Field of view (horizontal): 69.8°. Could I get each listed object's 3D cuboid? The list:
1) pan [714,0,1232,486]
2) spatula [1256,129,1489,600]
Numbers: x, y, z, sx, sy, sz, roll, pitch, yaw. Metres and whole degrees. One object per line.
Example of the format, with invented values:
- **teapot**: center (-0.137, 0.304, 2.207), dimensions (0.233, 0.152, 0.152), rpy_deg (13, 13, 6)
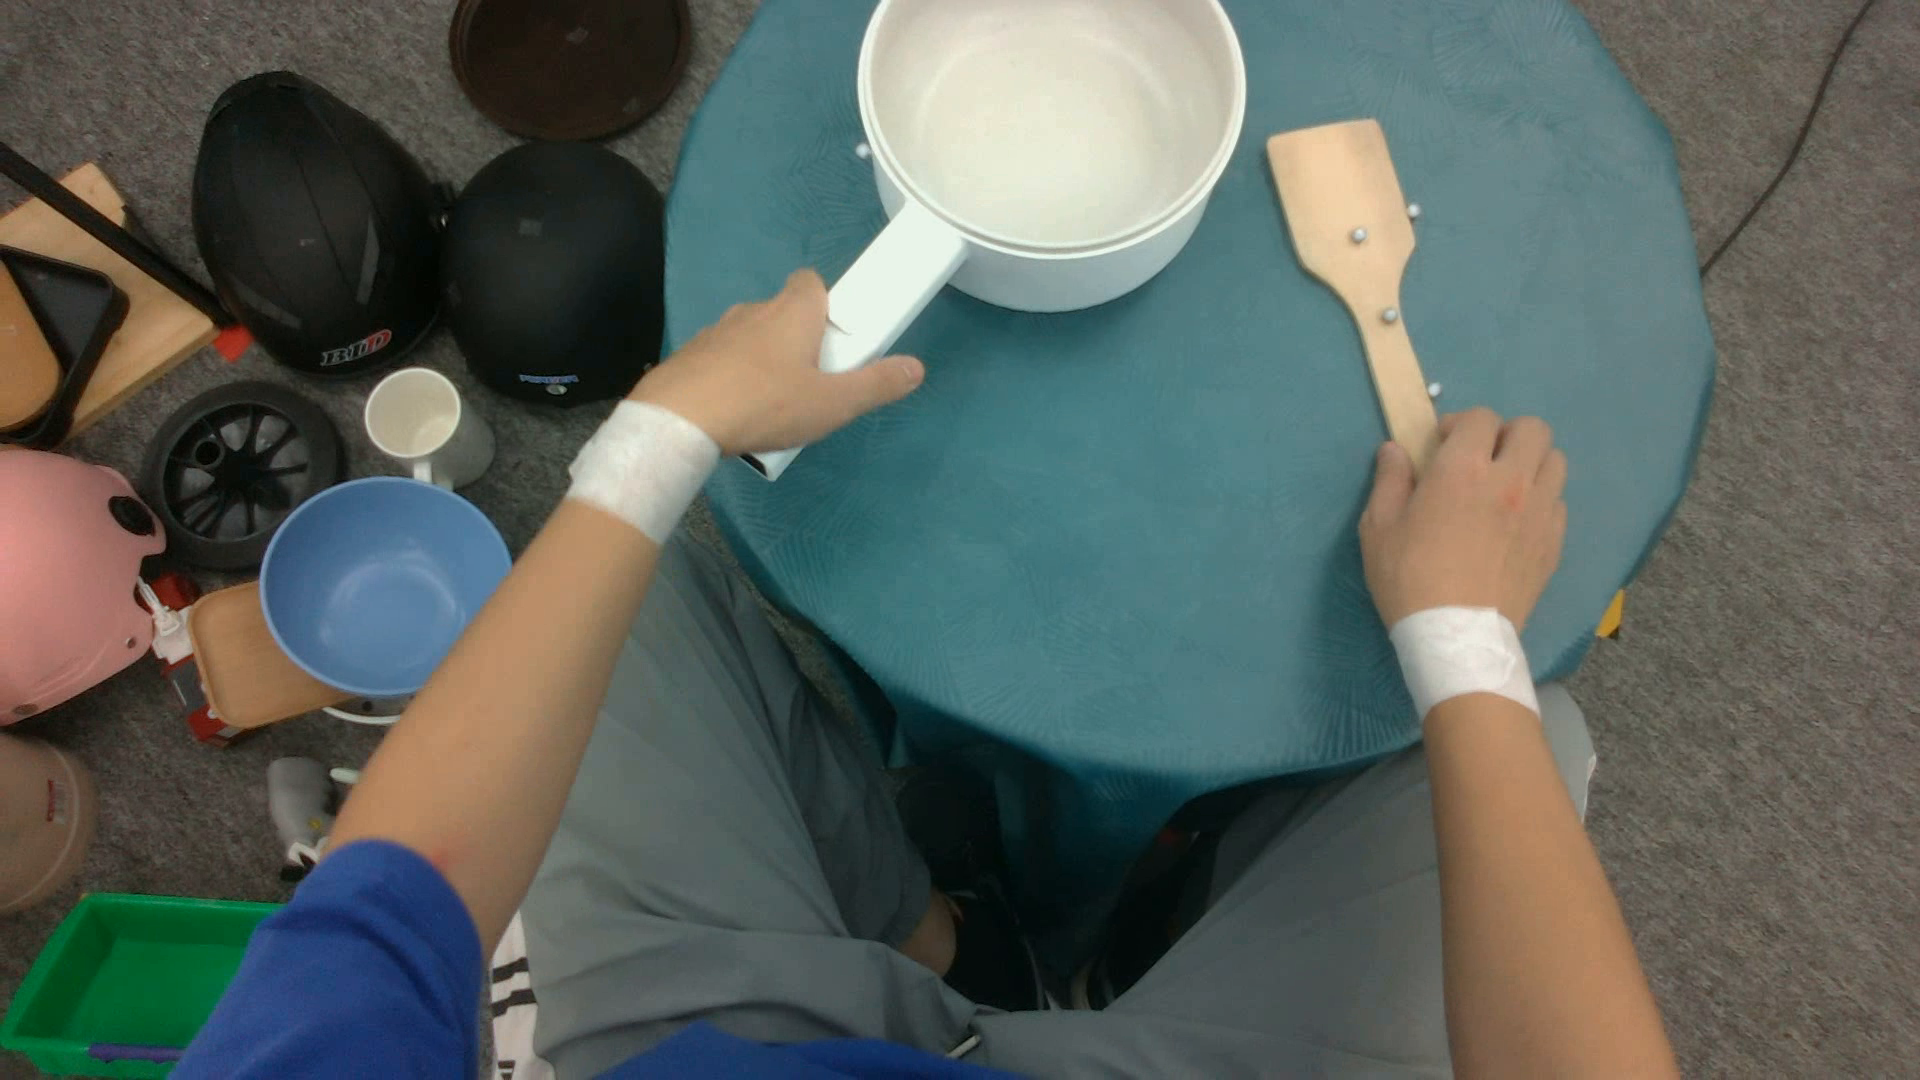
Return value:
- **pan**: center (-0.001, -0.166, 0.759), dimensions (0.201, 0.102, 0.355), rpy_deg (36, 77, 8)
- **spatula**: center (0.244, -0.105, 0.787), dimensions (0.072, 0.010, 0.293), rpy_deg (-13, 74, -5)
